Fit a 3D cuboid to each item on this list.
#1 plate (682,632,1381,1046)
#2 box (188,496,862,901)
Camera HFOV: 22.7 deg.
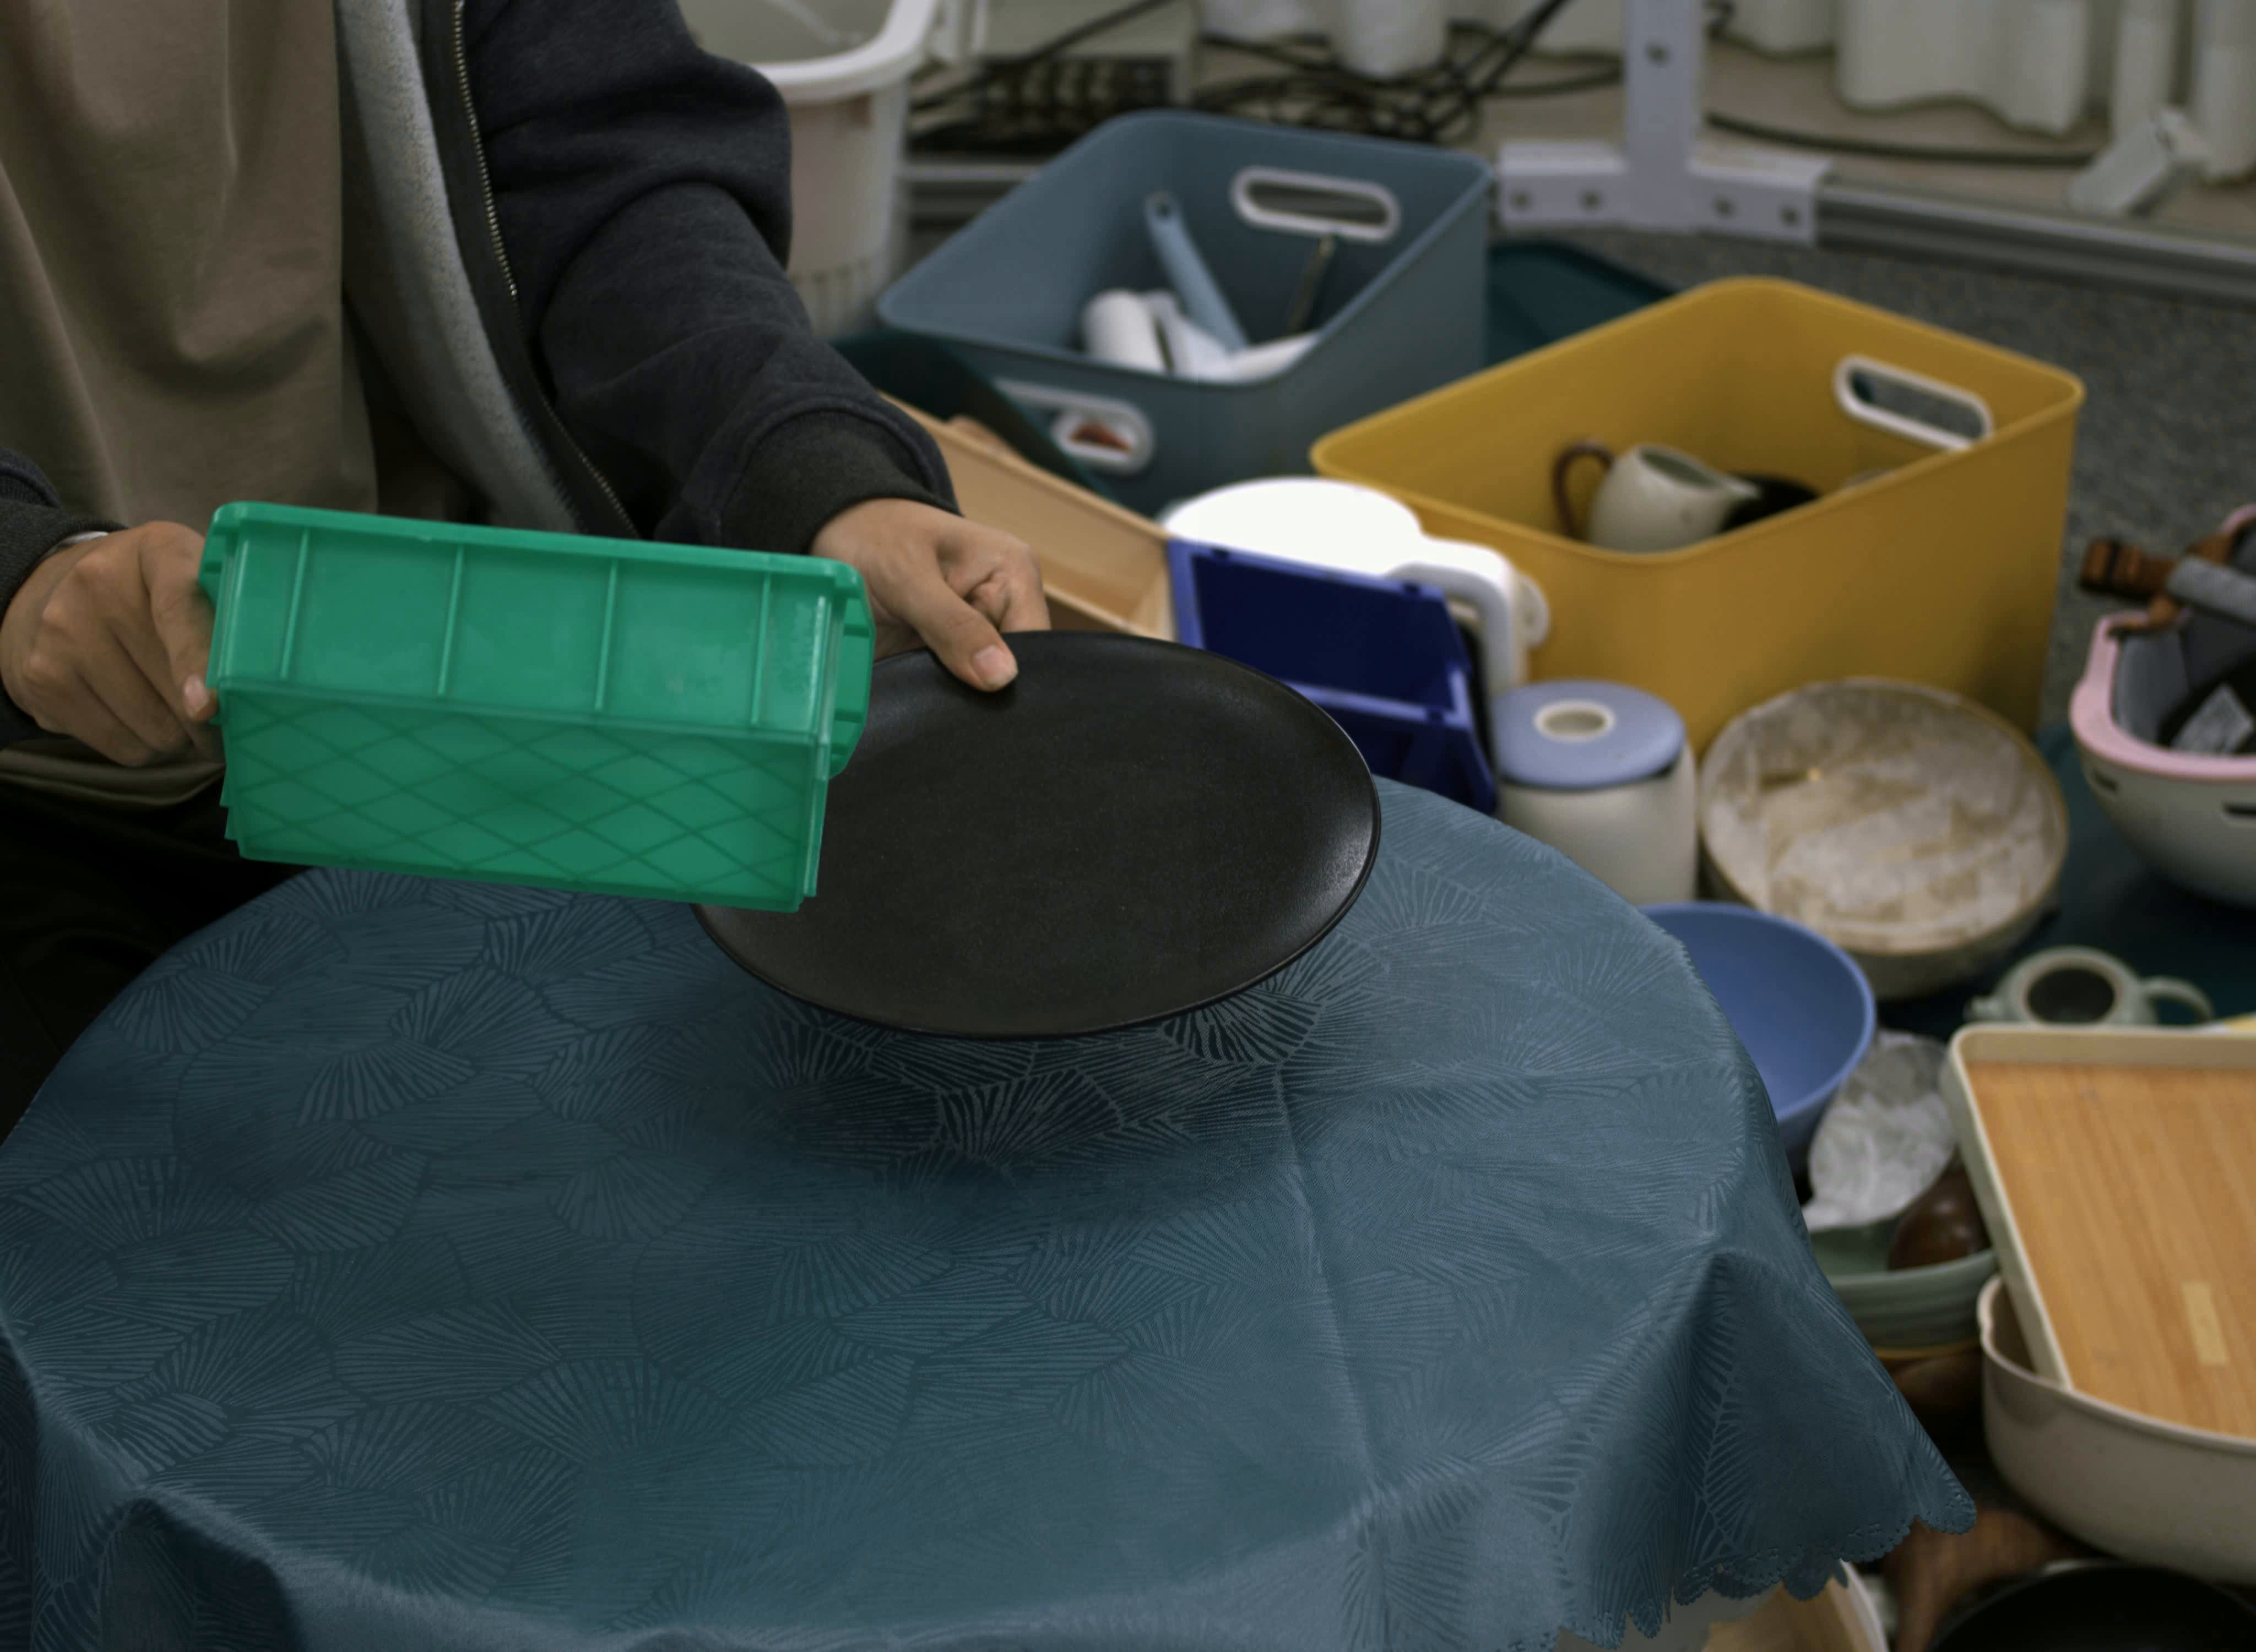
[{"bbox_3d":[-0.034,0.008,1.947,0.243,0.023,0.249,-2,35,2],"label":"plate"},{"bbox_3d":[-0.190,-0.035,1.753,0.210,0.136,0.066,4,61,-5],"label":"box"}]
